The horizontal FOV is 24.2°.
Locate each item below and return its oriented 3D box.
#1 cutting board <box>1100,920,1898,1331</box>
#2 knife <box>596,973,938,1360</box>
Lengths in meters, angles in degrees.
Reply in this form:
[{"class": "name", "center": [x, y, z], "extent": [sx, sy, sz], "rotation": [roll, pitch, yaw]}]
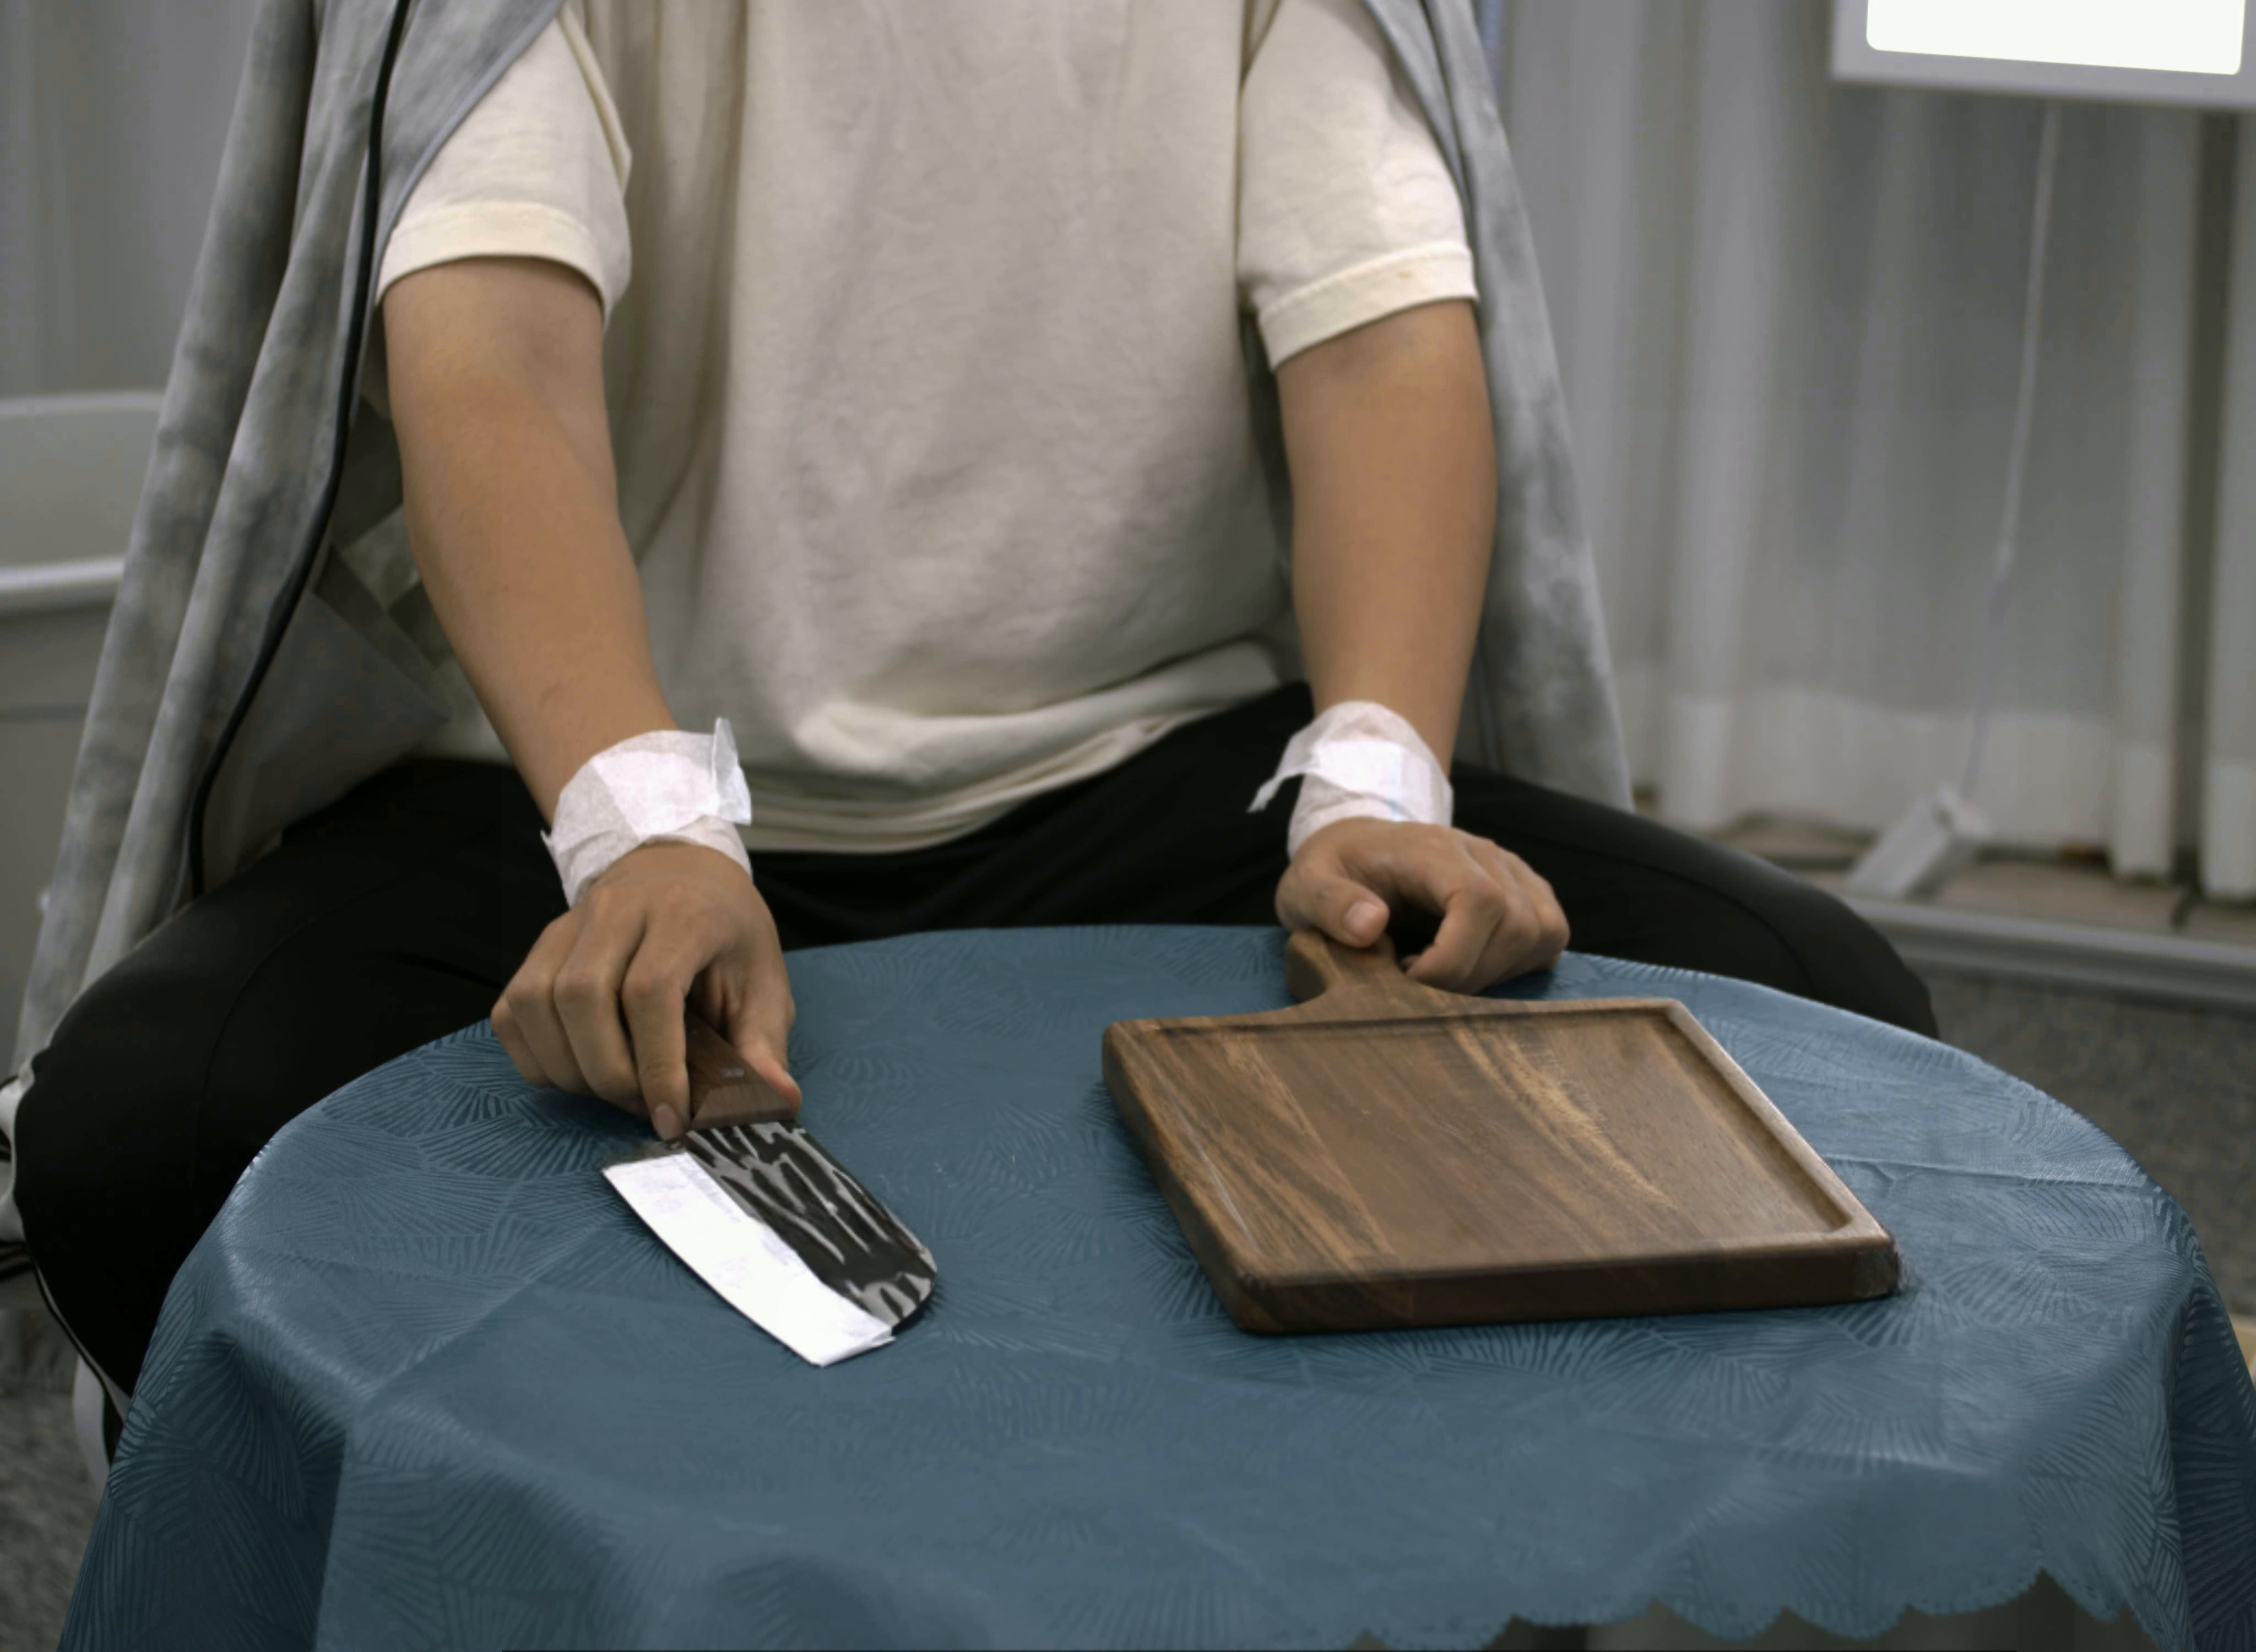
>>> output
[{"class": "cutting board", "center": [0.100, 0.087, 1.682], "extent": [0.201, 0.023, 0.349], "rotation": [-2, 15, -10]}, {"class": "knife", "center": [-0.123, 0.104, 1.617], "extent": [0.068, 0.024, 0.296], "rotation": [-9, 21, -21]}]
